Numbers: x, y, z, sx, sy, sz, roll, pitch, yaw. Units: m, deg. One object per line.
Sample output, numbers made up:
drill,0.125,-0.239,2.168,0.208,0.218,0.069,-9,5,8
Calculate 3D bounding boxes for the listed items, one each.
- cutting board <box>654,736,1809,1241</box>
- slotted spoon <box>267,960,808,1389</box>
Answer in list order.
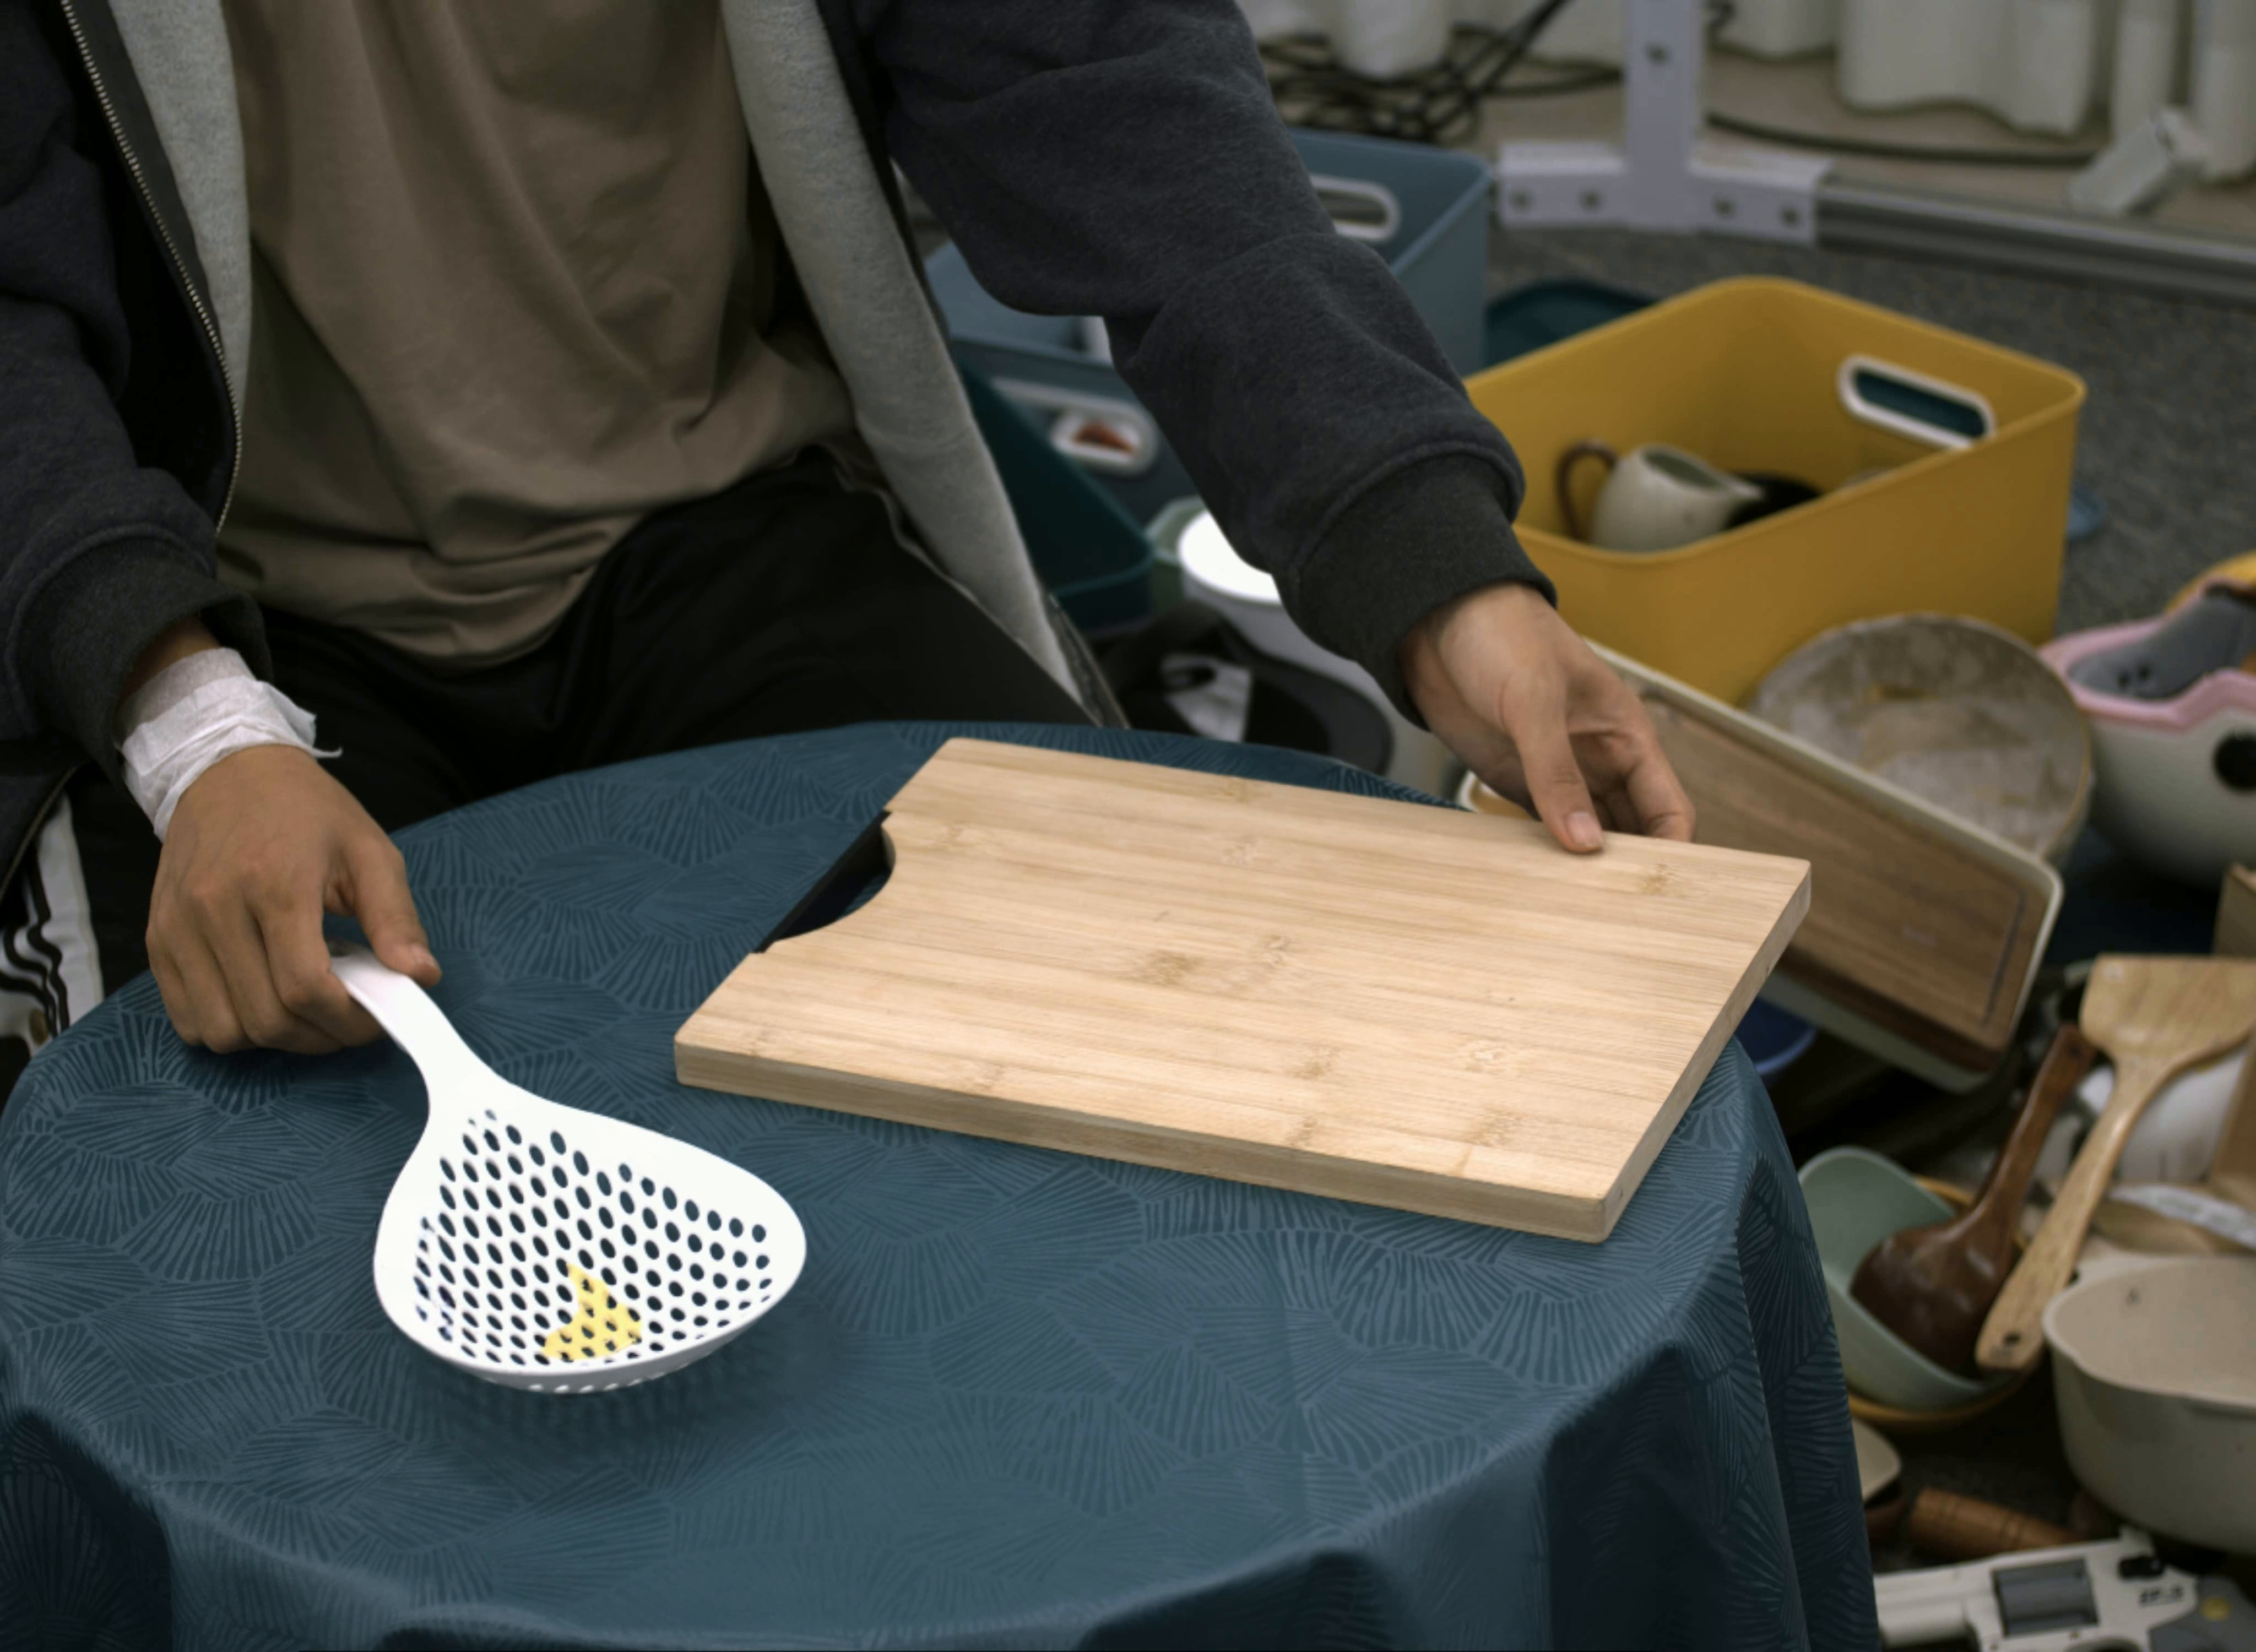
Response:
cutting board,0.039,0.051,1.976,0.346,0.023,0.255,8,29,20
slotted spoon,-0.218,0.103,1.868,0.137,0.050,0.350,-16,32,-22
